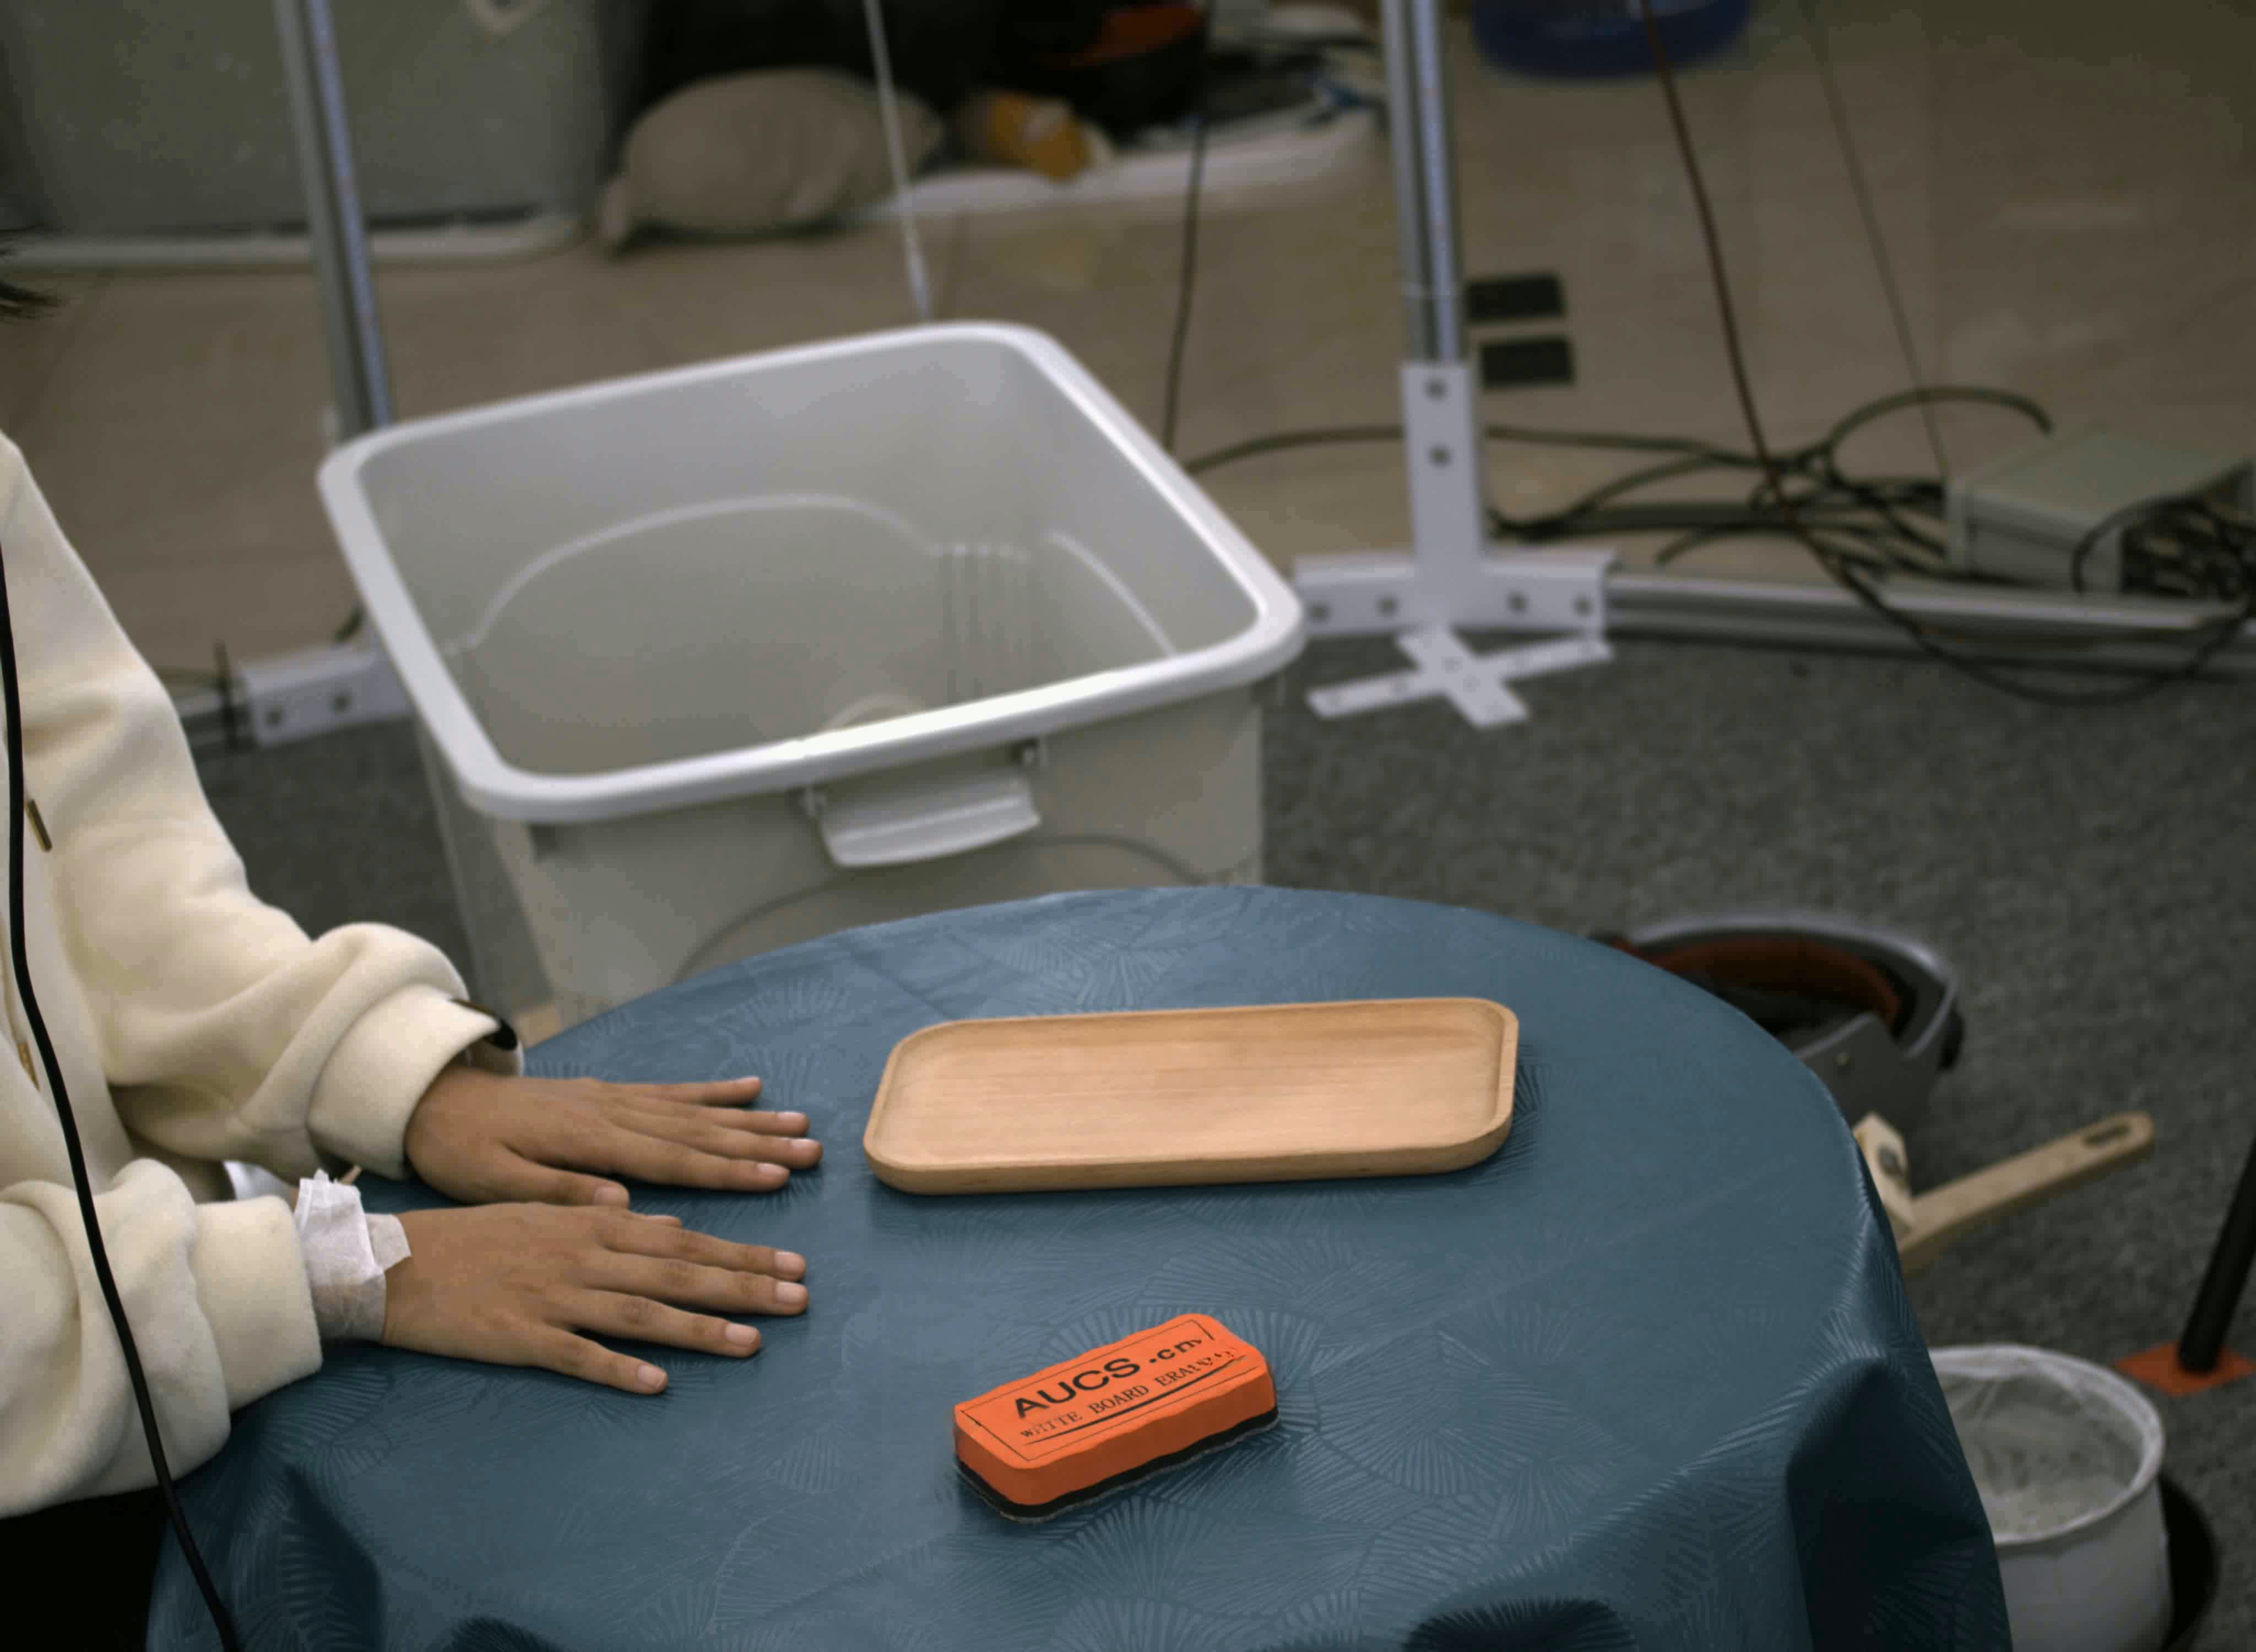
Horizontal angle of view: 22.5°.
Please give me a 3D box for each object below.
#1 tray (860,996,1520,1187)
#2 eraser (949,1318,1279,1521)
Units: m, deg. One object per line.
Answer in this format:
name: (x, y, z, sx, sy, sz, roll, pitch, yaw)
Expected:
tray: (0.025, 0.103, 2.197, 0.250, 0.023, 0.129, -2, 22, 9)
eraser: (-0.005, 0.206, 1.978, 0.107, 0.023, 0.058, -18, 28, -25)
